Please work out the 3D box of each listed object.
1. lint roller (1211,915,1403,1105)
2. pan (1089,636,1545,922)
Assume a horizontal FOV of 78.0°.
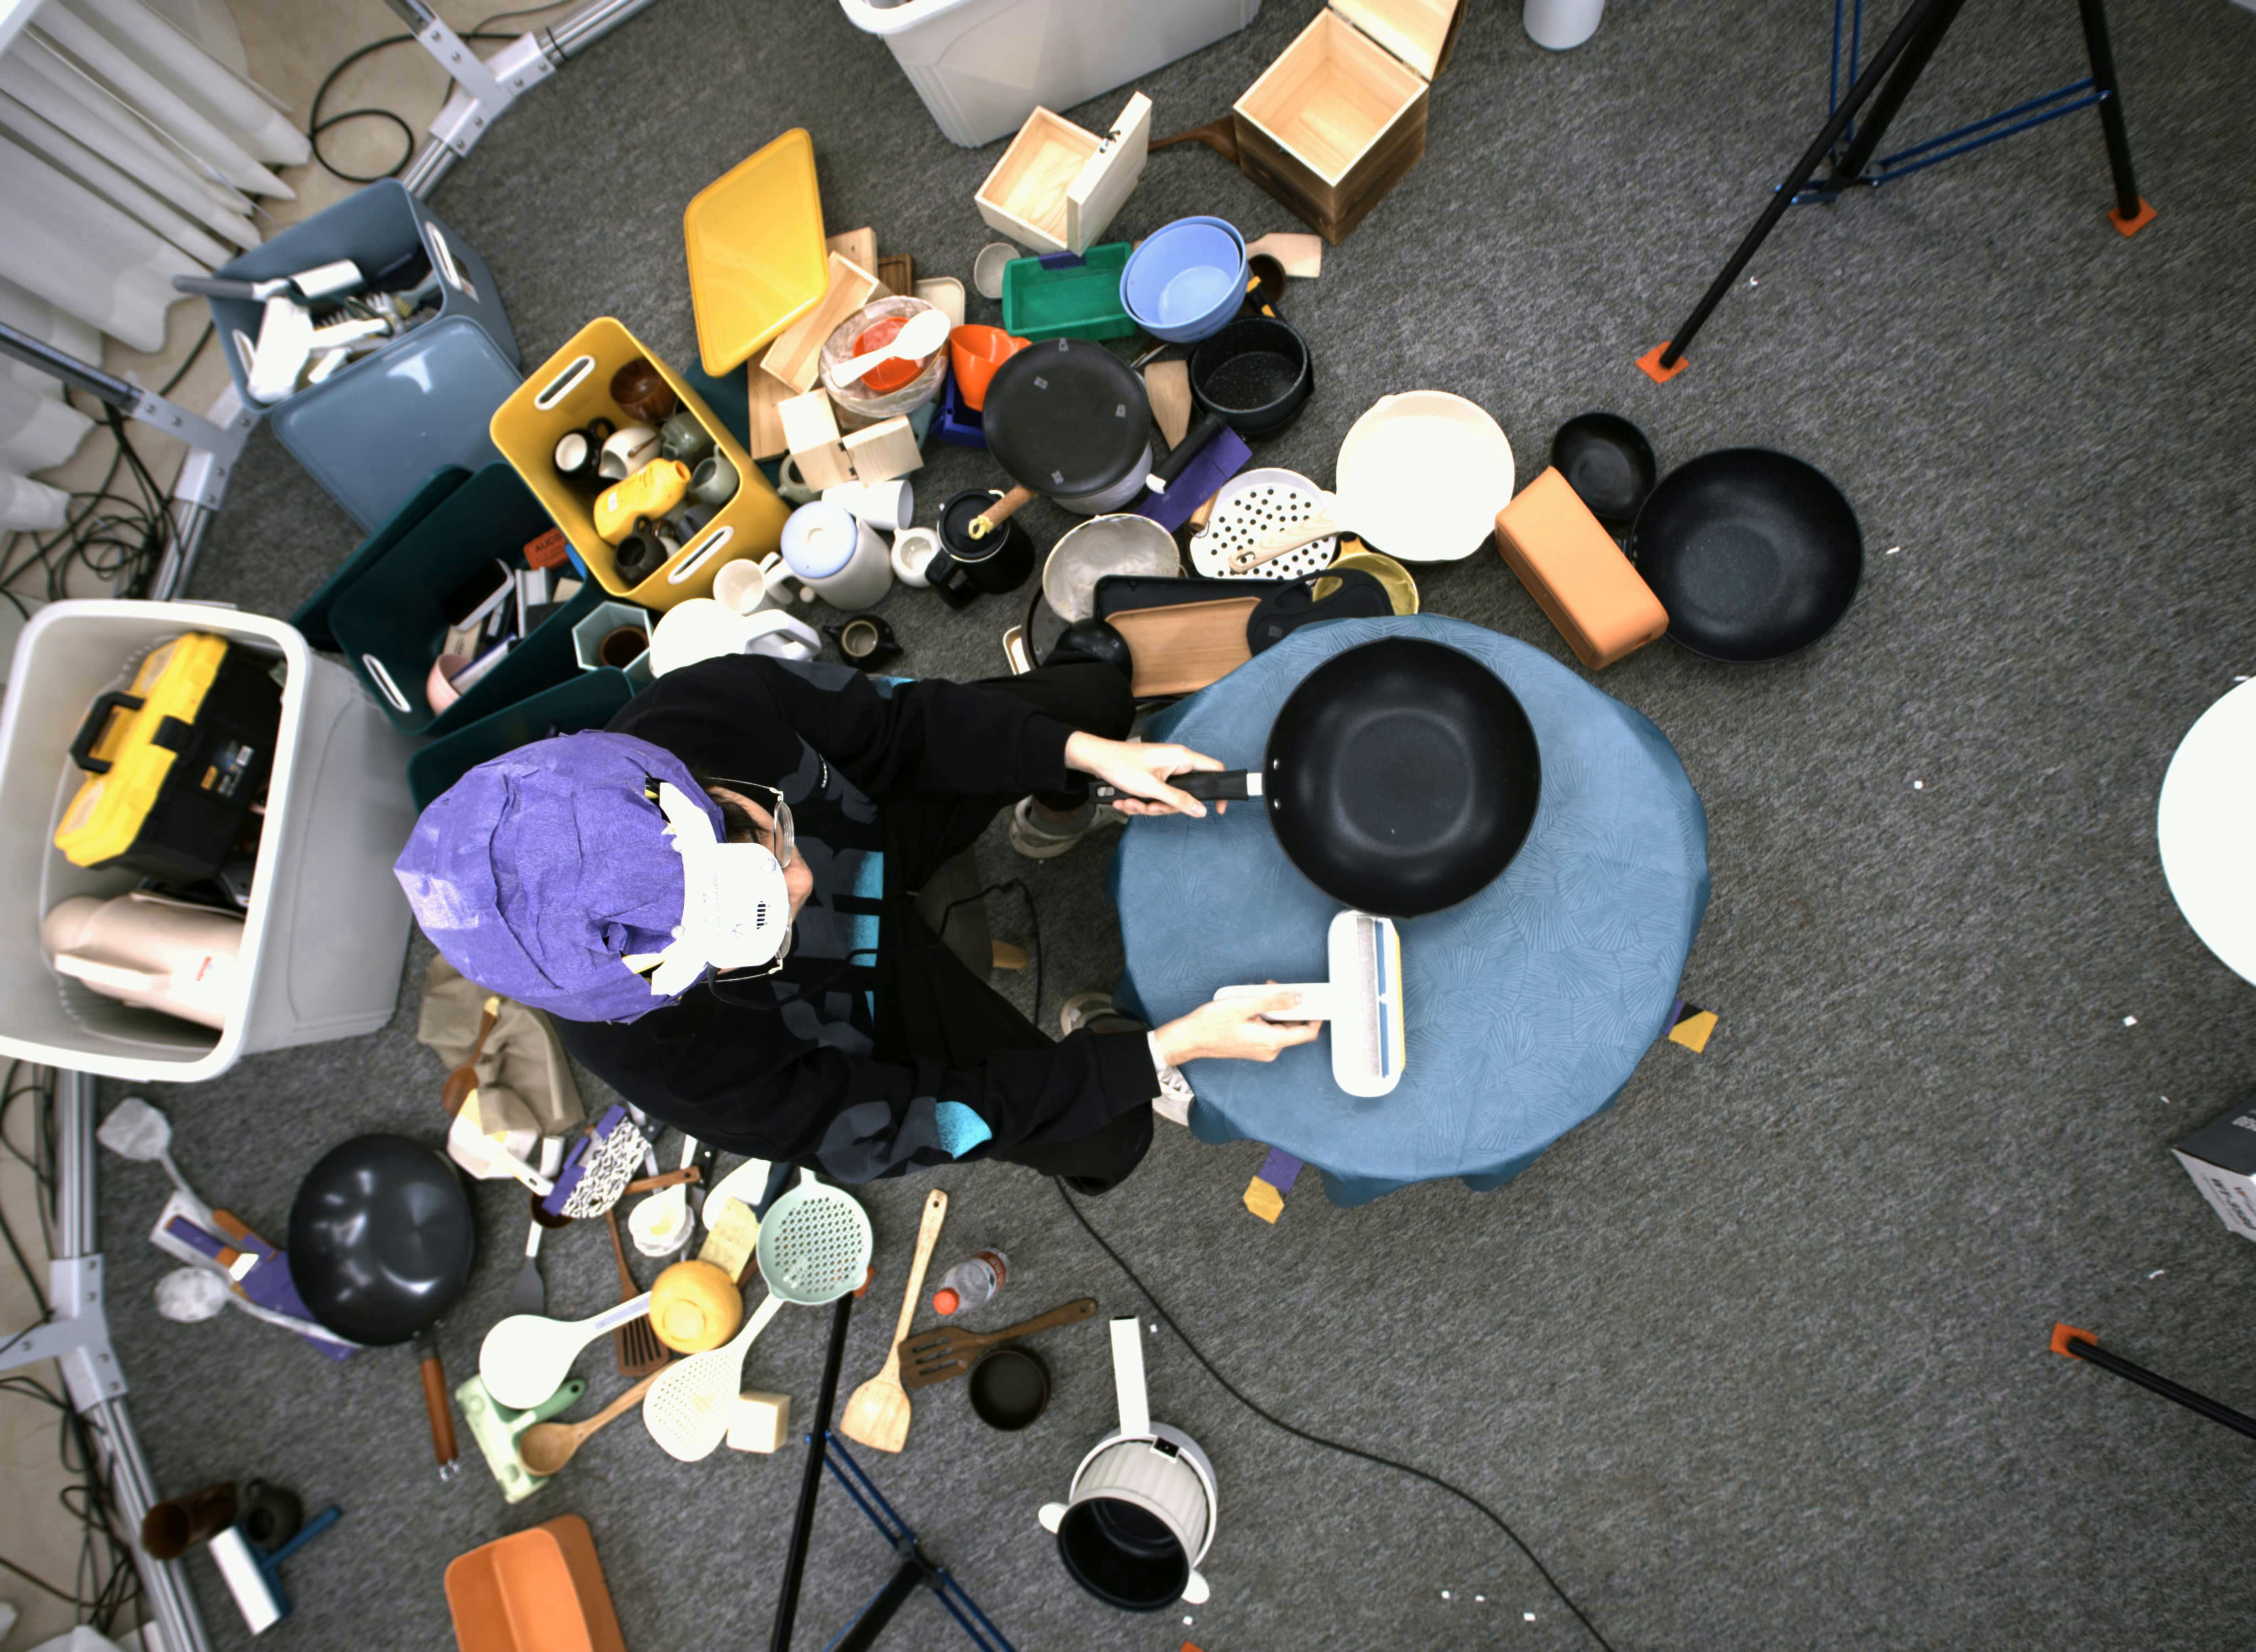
[{"bbox_3d":[0.183,0.183,1.420,0.192,0.074,0.191,4,84,-1],"label":"lint roller"},{"bbox_3d":[0.192,-0.045,1.433,0.466,0.086,0.288,-2,91,14],"label":"pan"}]
